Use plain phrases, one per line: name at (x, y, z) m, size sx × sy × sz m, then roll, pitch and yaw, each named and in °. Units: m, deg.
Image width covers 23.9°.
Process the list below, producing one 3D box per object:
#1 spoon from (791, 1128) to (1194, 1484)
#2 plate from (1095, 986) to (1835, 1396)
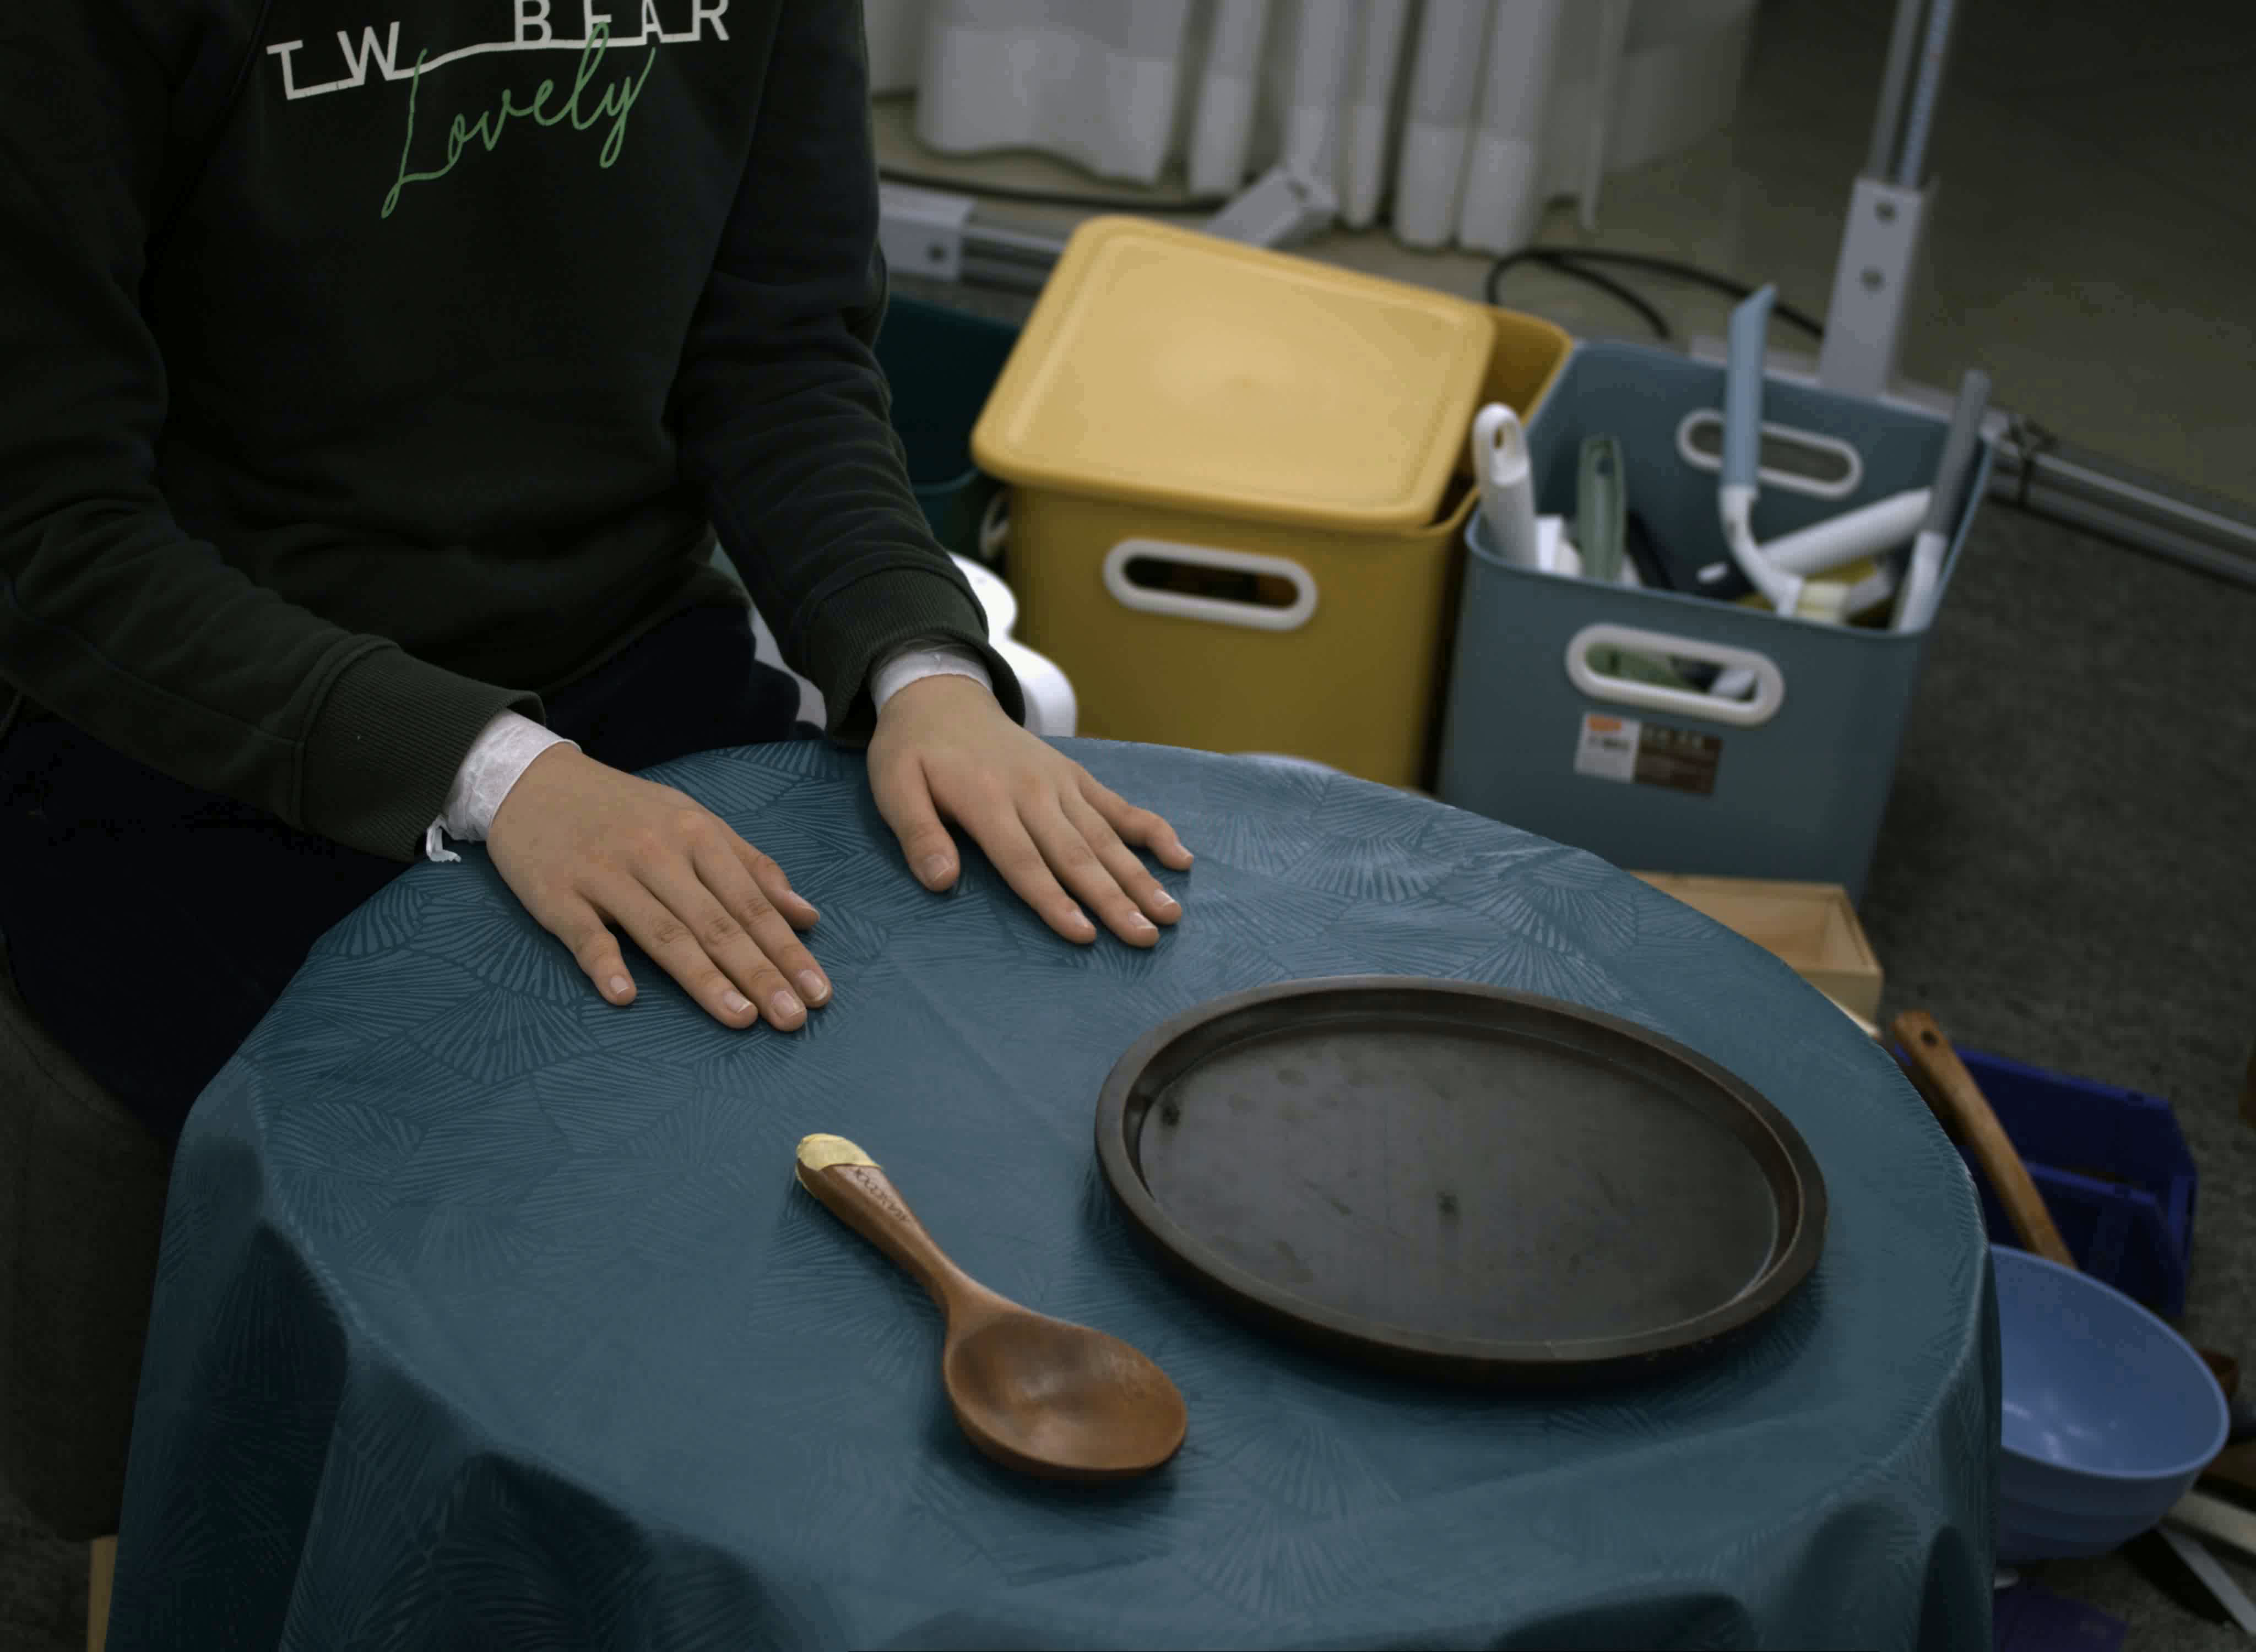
spoon at (-0.052, 0.154, 1.708) m, size 0.075 × 0.017 × 0.218 m, roll -10°, pitch 31°, yaw -29°
plate at (0.113, 0.121, 1.806) m, size 0.254 × 0.029 × 0.256 m, roll 6°, pitch 27°, yaw -3°
